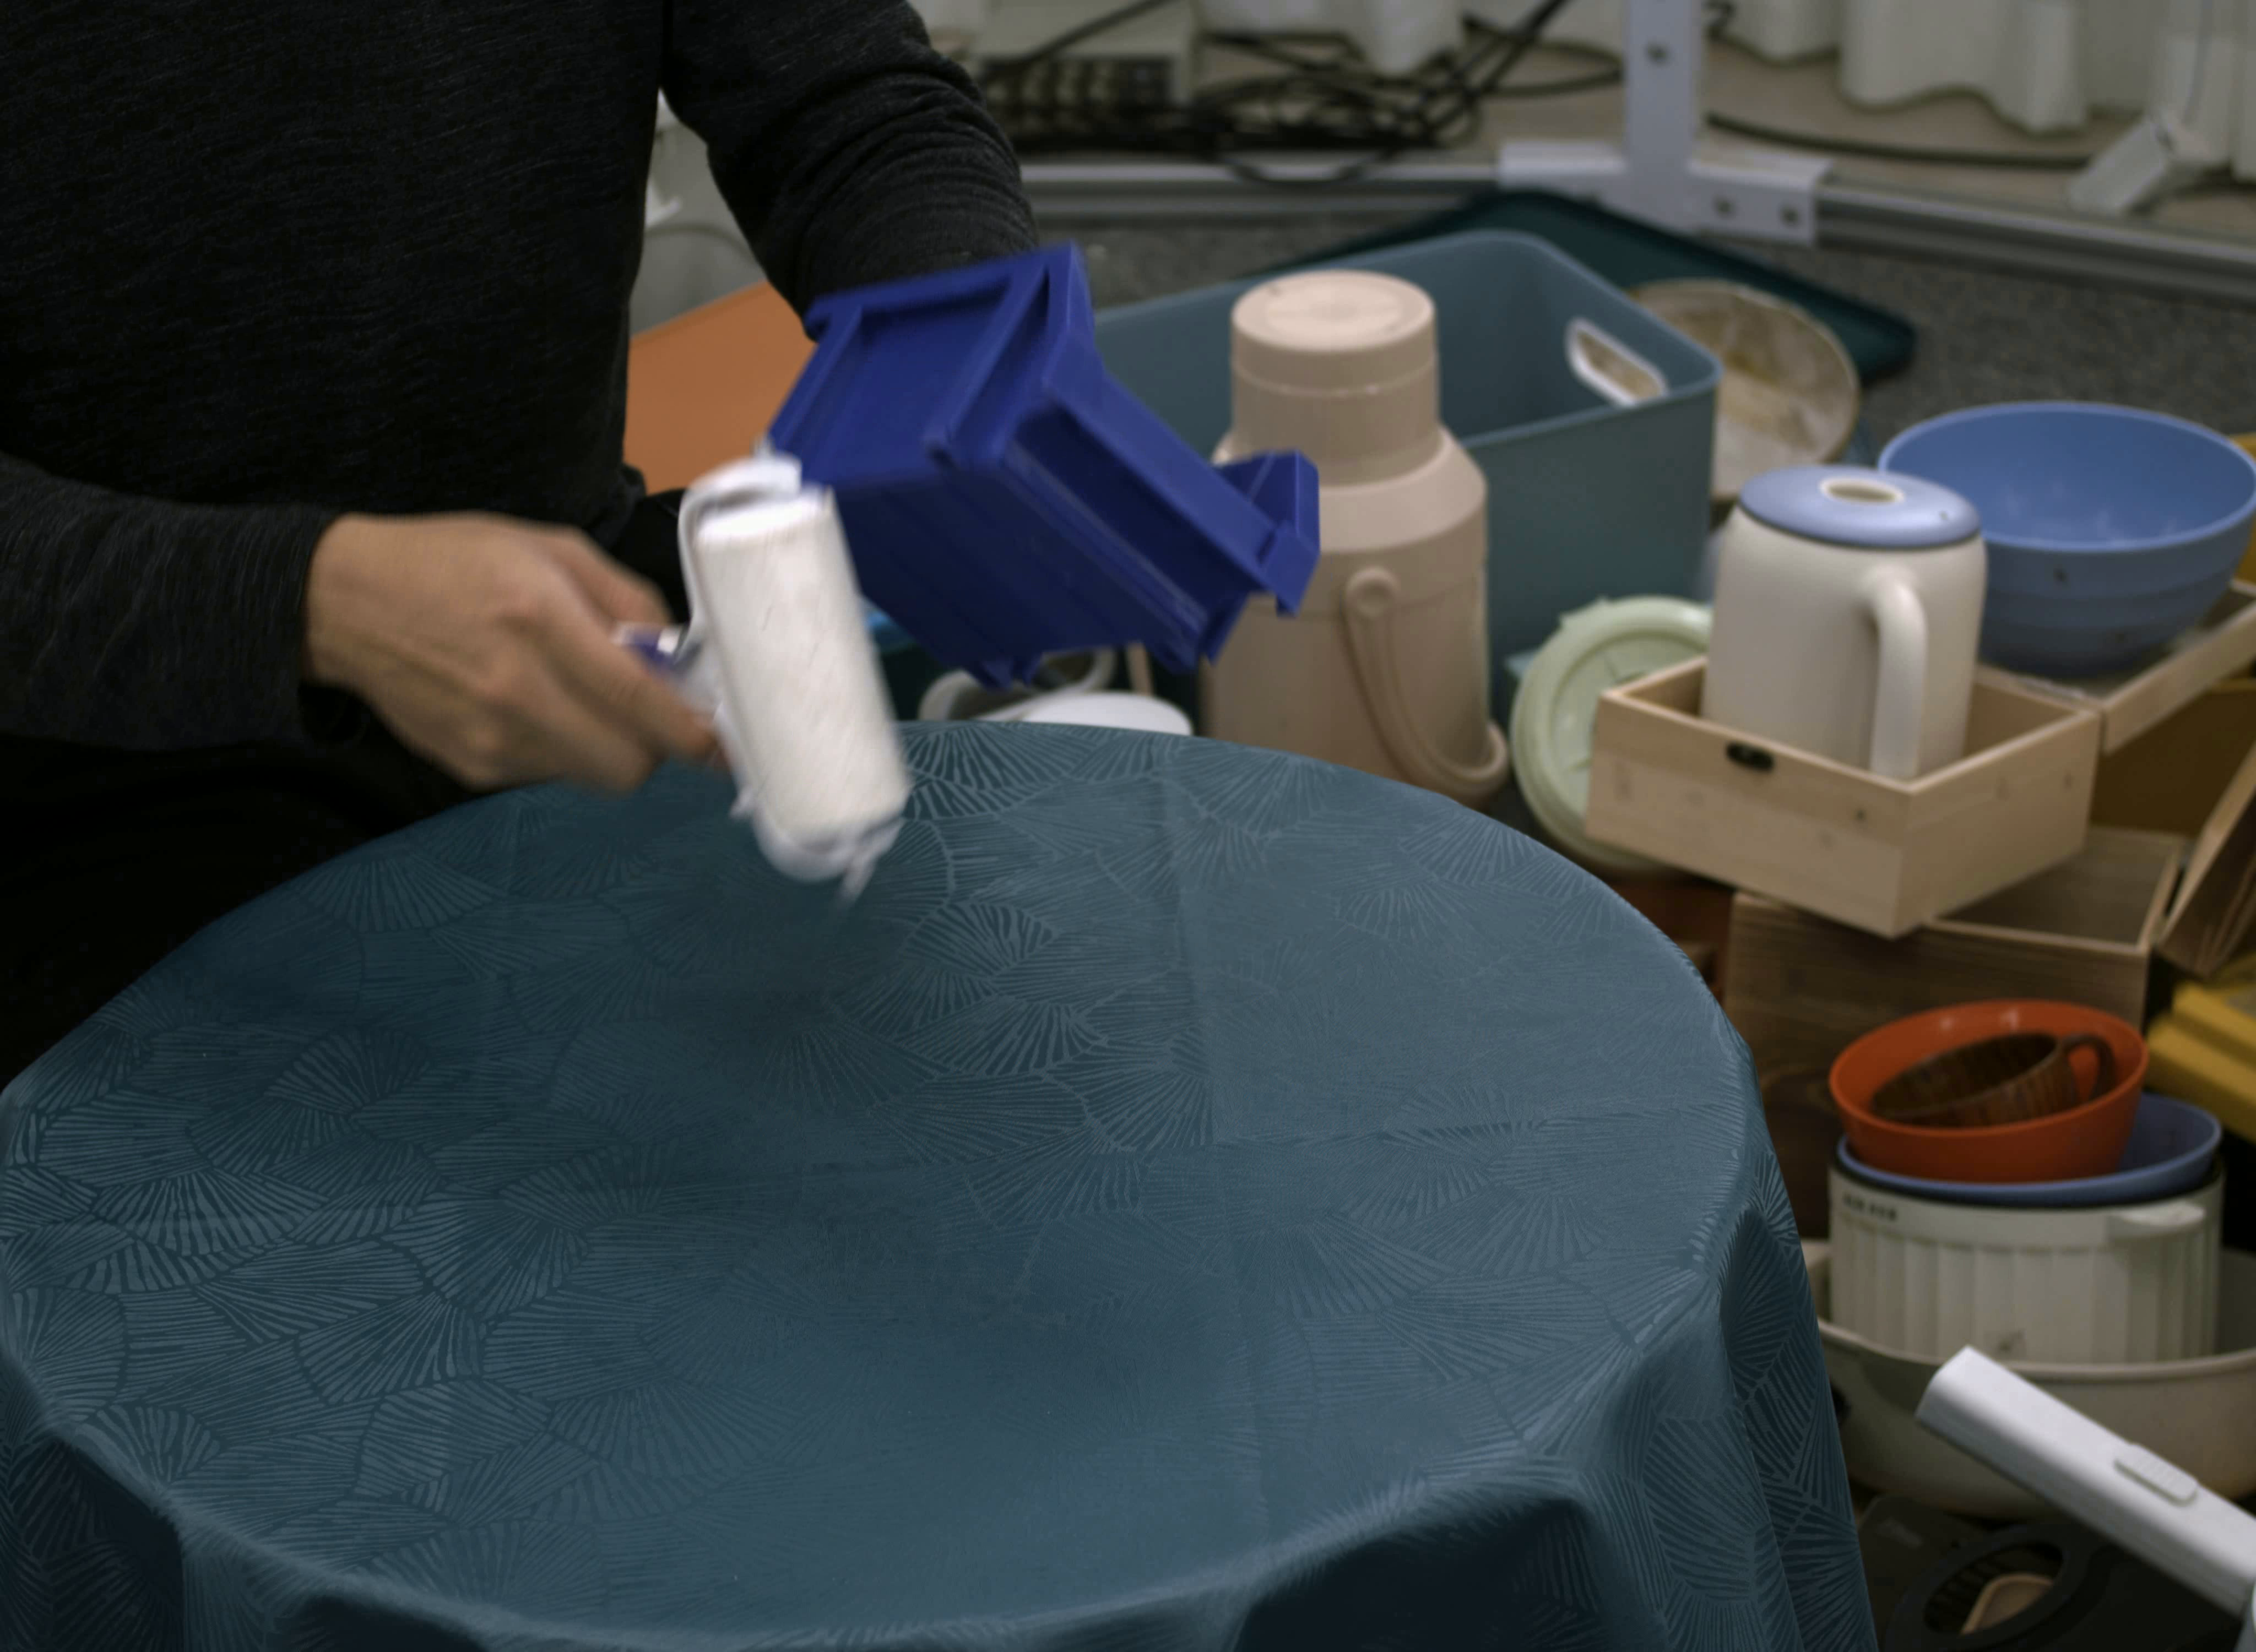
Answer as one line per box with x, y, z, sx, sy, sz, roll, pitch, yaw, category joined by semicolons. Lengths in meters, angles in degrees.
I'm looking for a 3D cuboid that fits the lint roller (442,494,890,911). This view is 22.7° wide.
-0.162;-0.038;1.819;0.179;0.132;0.051;-2;14;32;lint roller

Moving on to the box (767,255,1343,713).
-0.021;-0.109;1.842;0.177;0.124;0.083;-10;47;52;box
